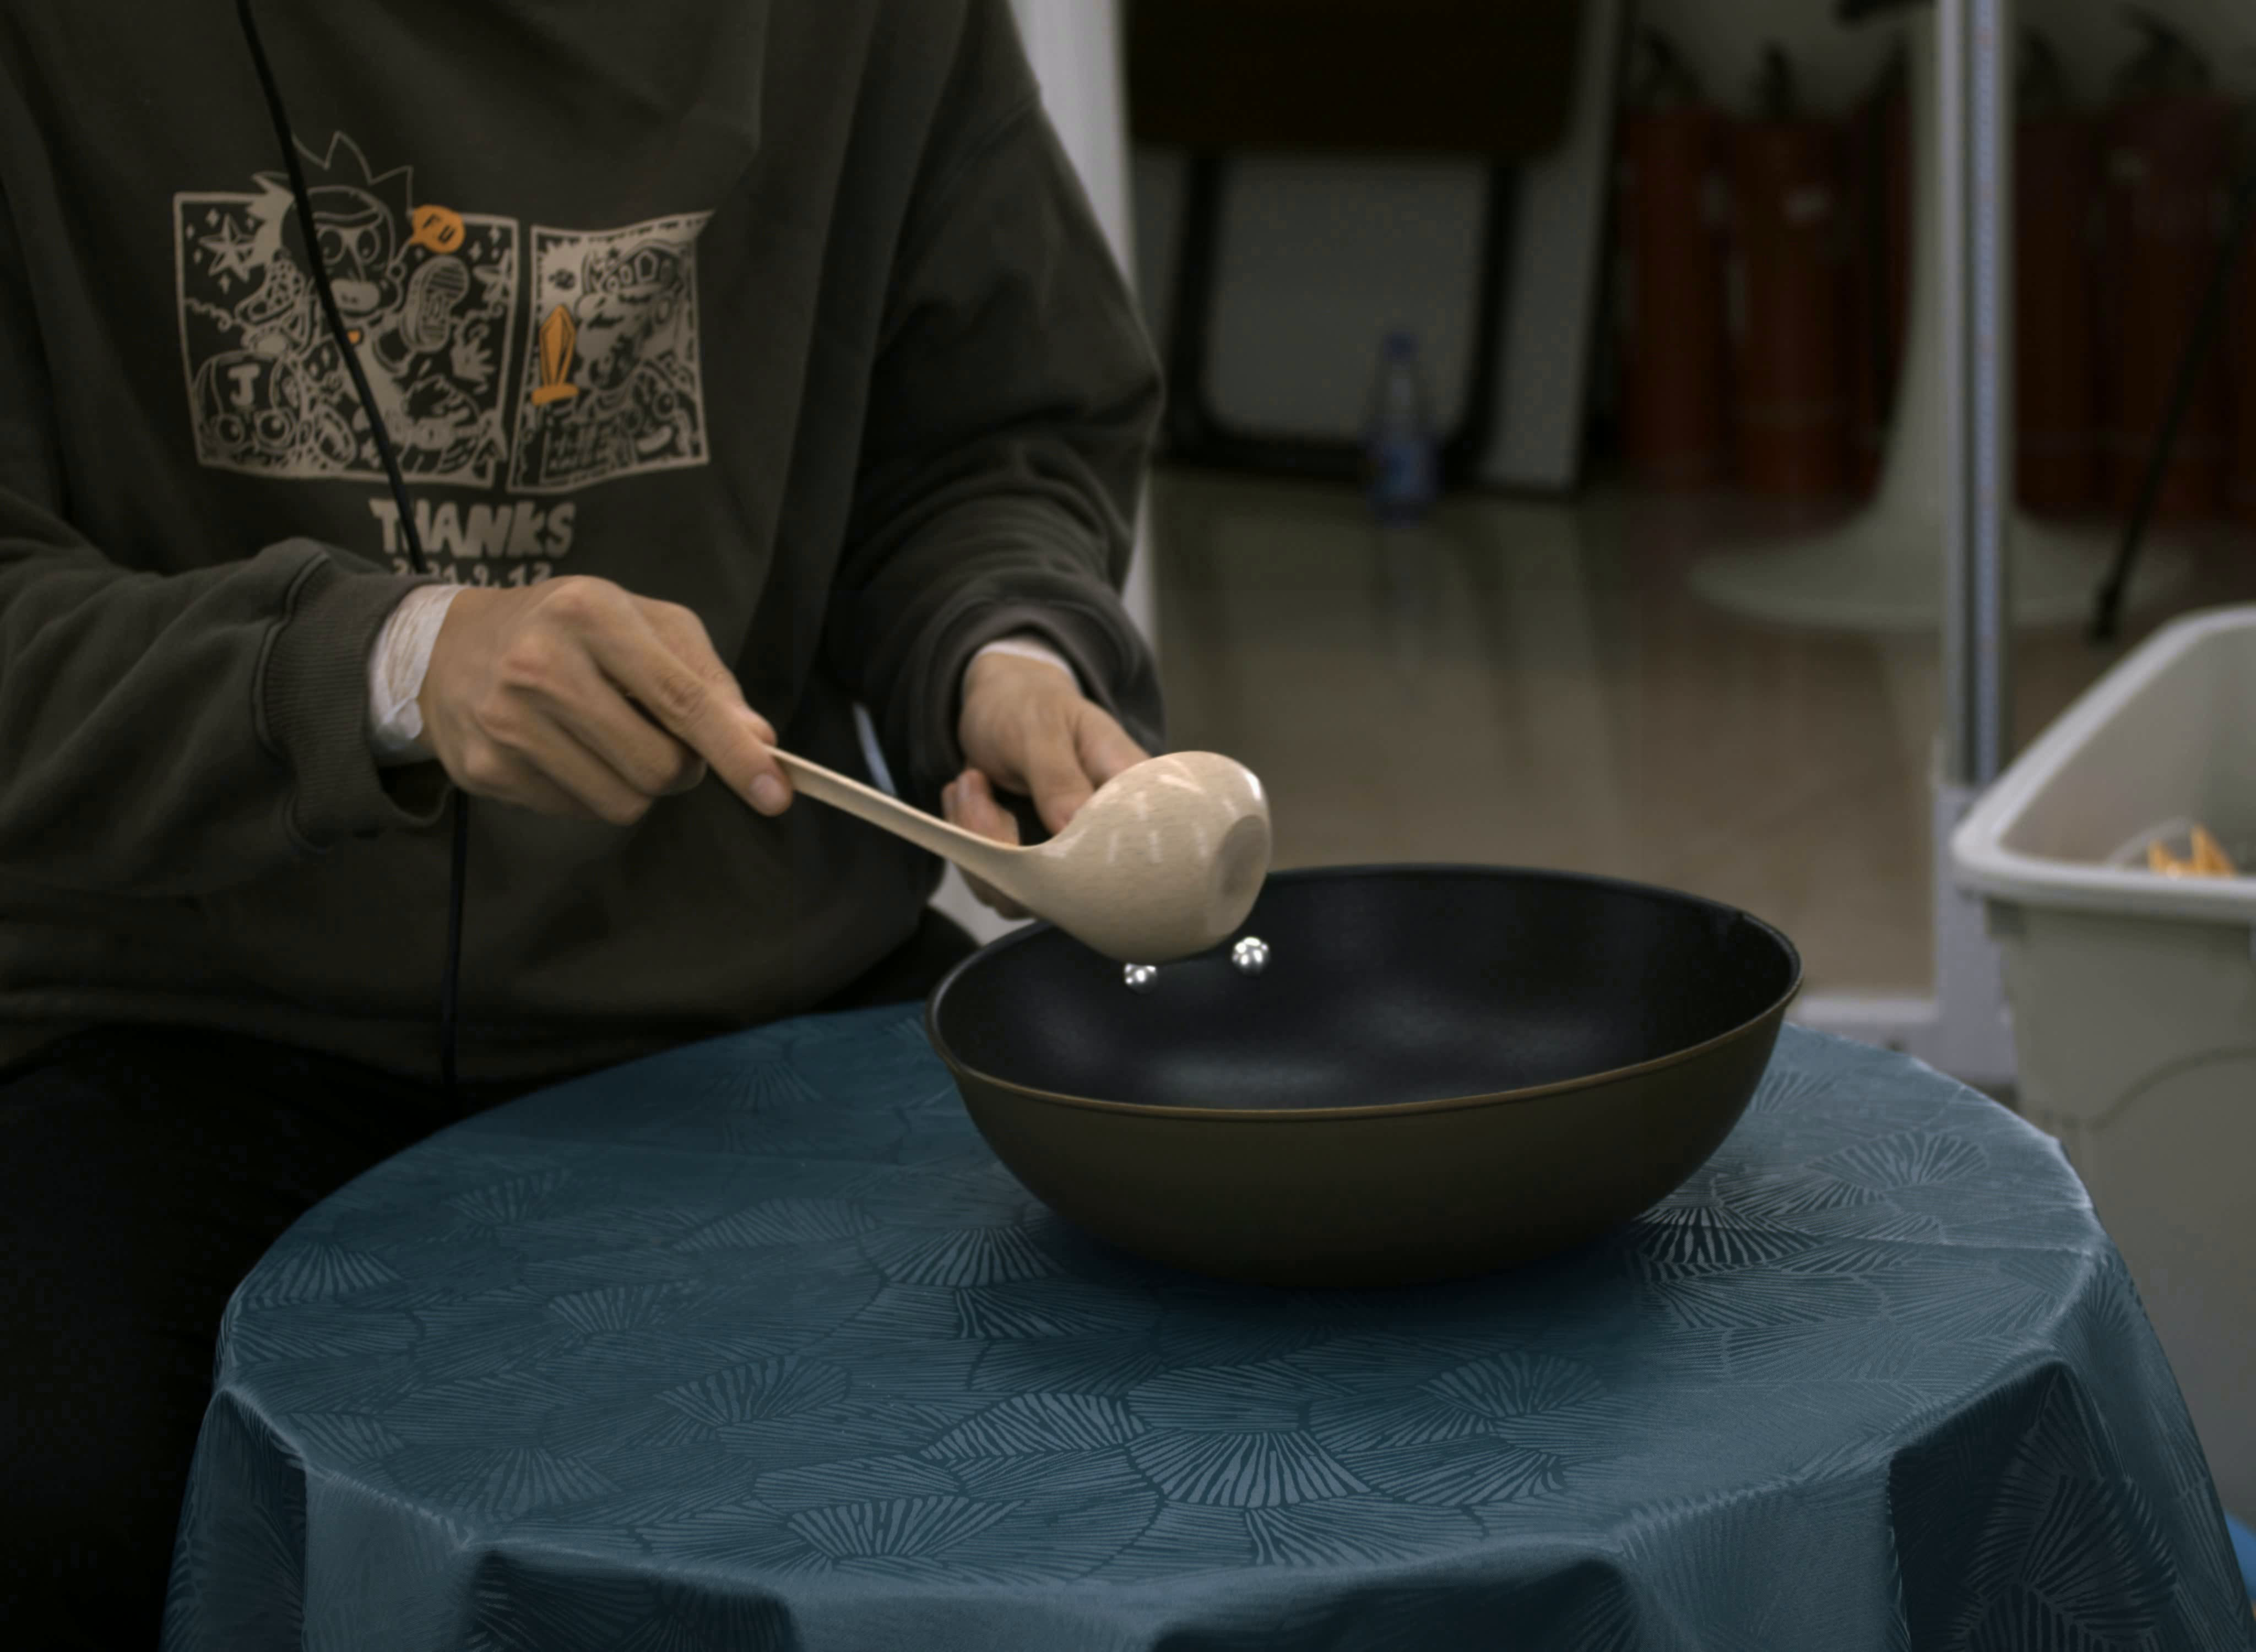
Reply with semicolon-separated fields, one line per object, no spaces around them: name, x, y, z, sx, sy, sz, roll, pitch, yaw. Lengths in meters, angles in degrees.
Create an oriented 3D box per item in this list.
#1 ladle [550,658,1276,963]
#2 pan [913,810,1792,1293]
ladle;-0.067;-0.027;1.729;0.256;0.072;0.072;24;53;29
pan;0.036;0.071;1.799;0.282;0.088;0.468;-10;13;-22
